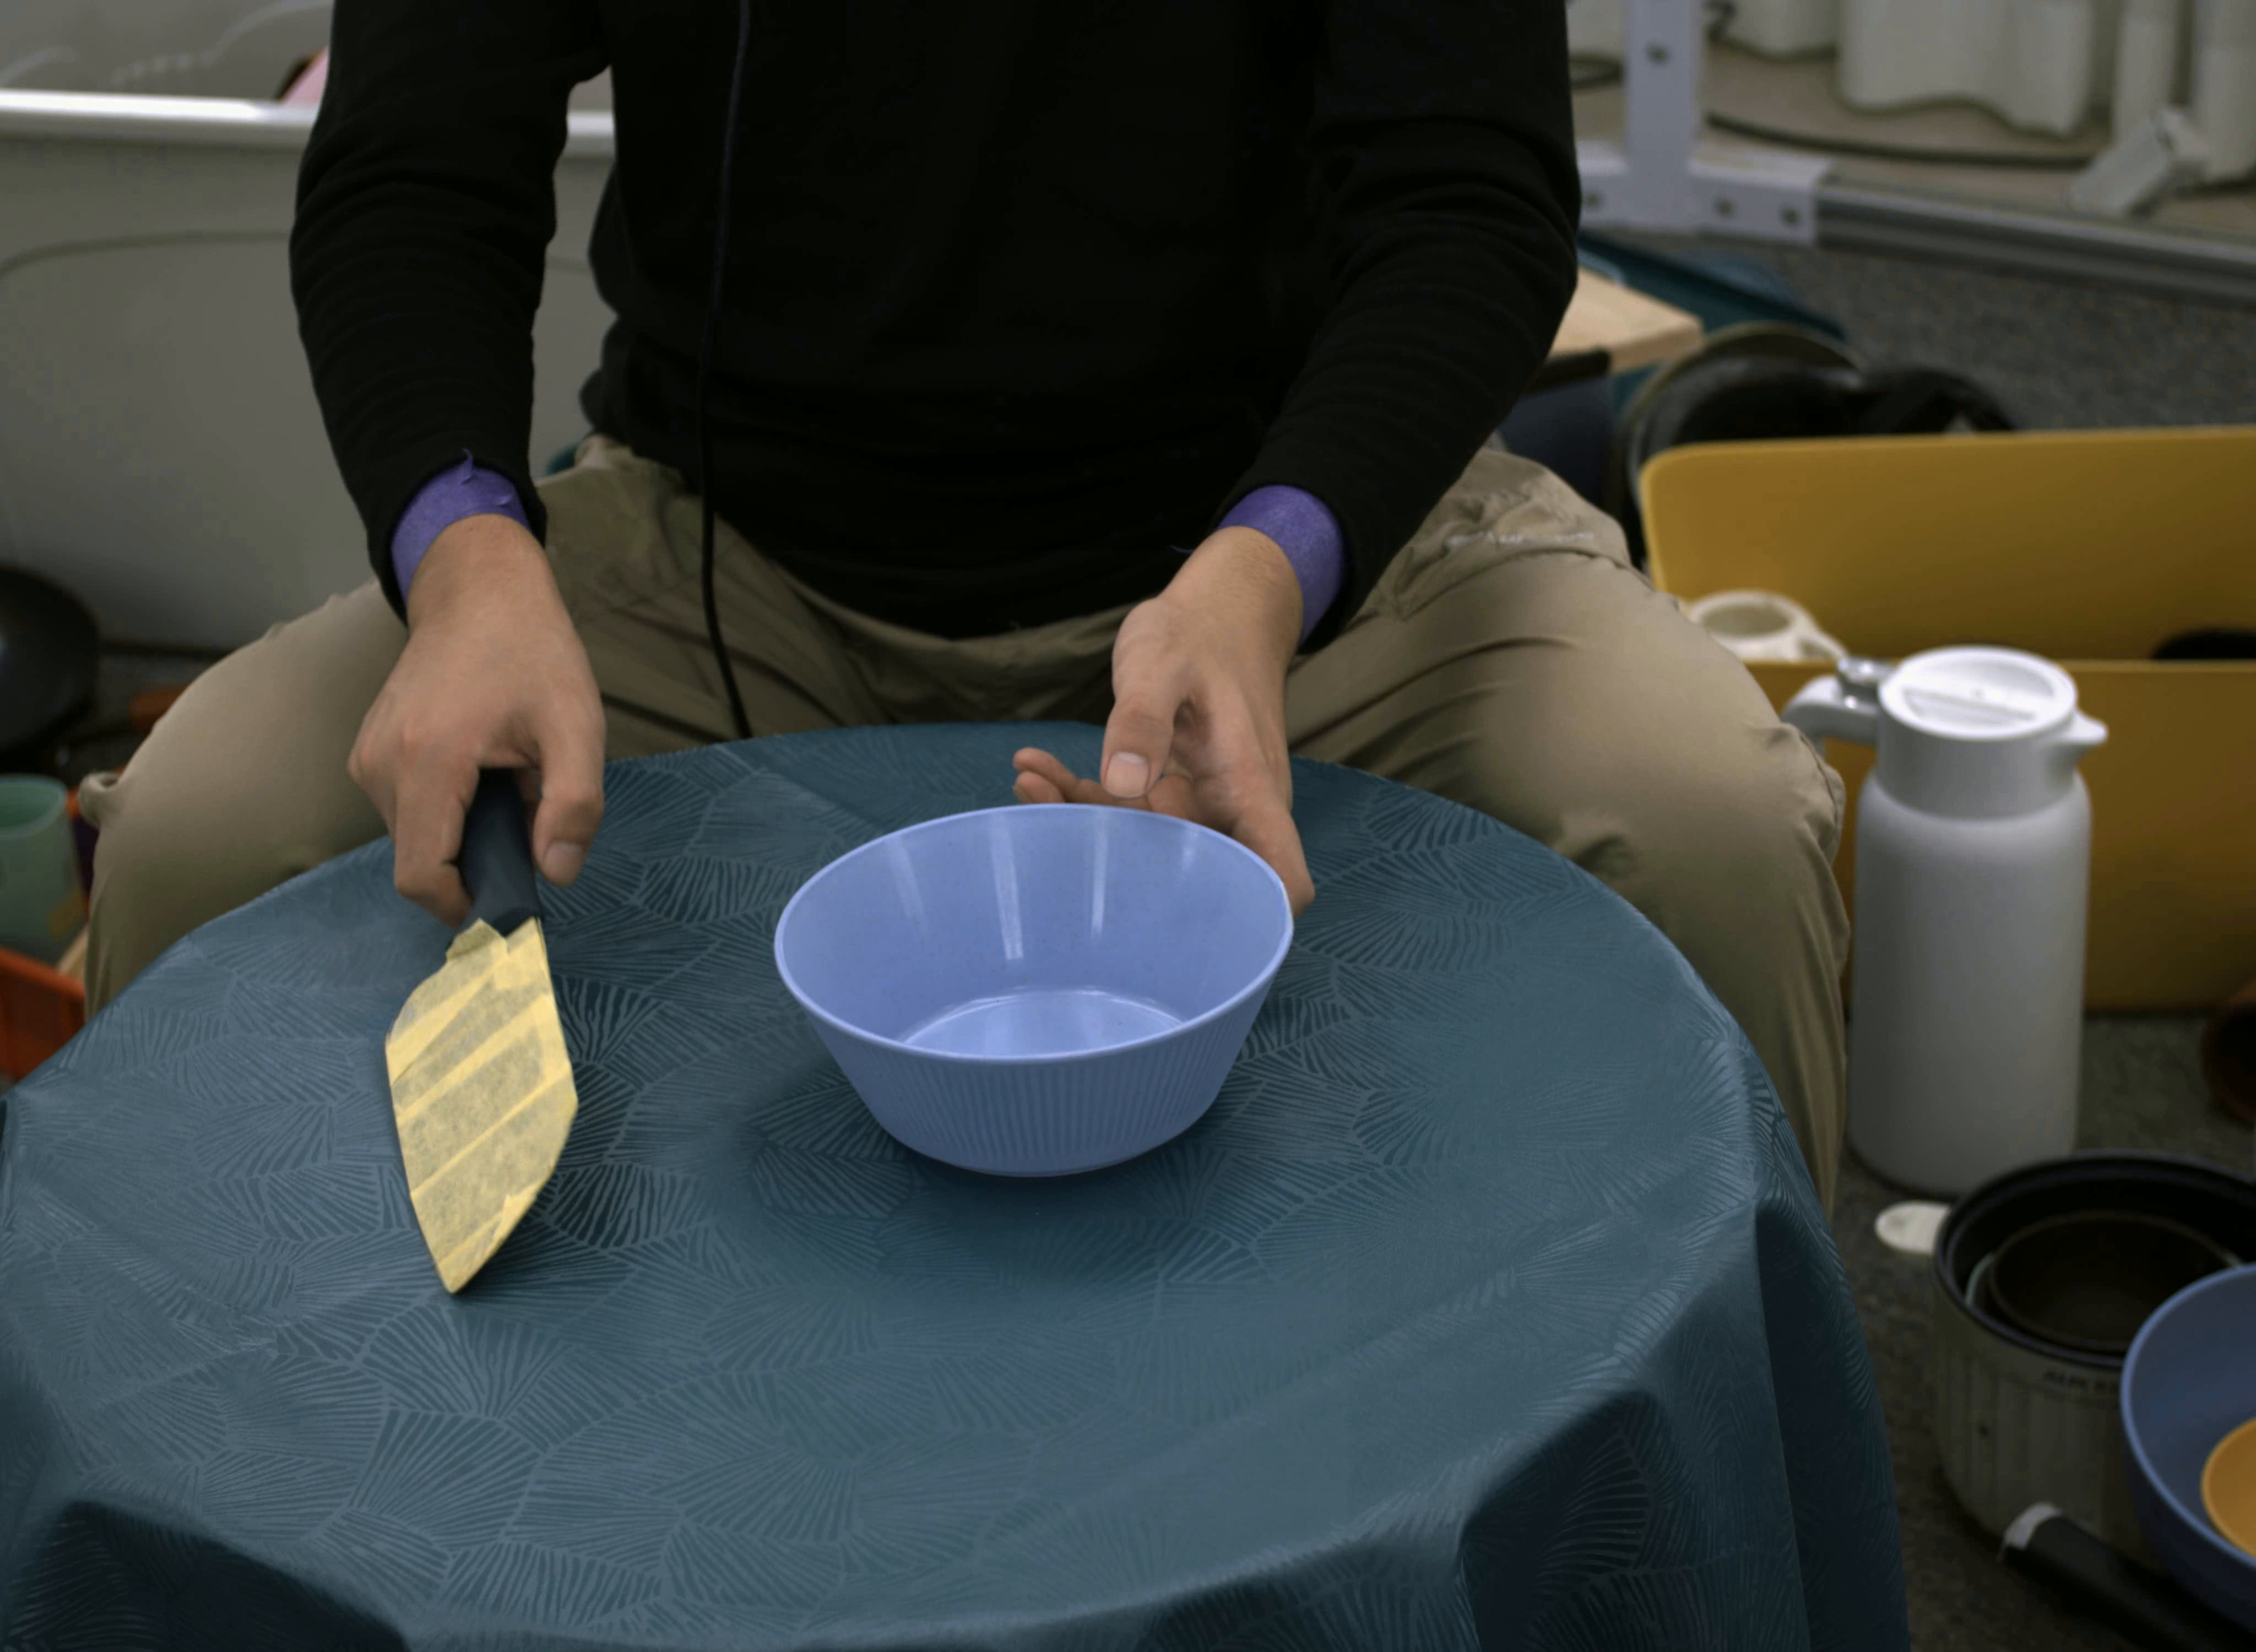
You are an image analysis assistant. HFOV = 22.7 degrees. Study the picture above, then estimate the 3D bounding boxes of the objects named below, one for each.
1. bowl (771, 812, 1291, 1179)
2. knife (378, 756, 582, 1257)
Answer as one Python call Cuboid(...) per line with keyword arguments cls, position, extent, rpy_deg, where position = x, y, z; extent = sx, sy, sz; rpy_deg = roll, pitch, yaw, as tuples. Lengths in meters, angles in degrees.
Cuboid(cls="bowl", position=(-0.031, 0.063, 1.902), extent=(0.175, 0.069, 0.179), rpy_deg=(-3, 27, 2))
Cuboid(cls="knife", position=(-0.226, 0.061, 1.936), extent=(0.080, 0.027, 0.294), rpy_deg=(-33, 31, 11))
